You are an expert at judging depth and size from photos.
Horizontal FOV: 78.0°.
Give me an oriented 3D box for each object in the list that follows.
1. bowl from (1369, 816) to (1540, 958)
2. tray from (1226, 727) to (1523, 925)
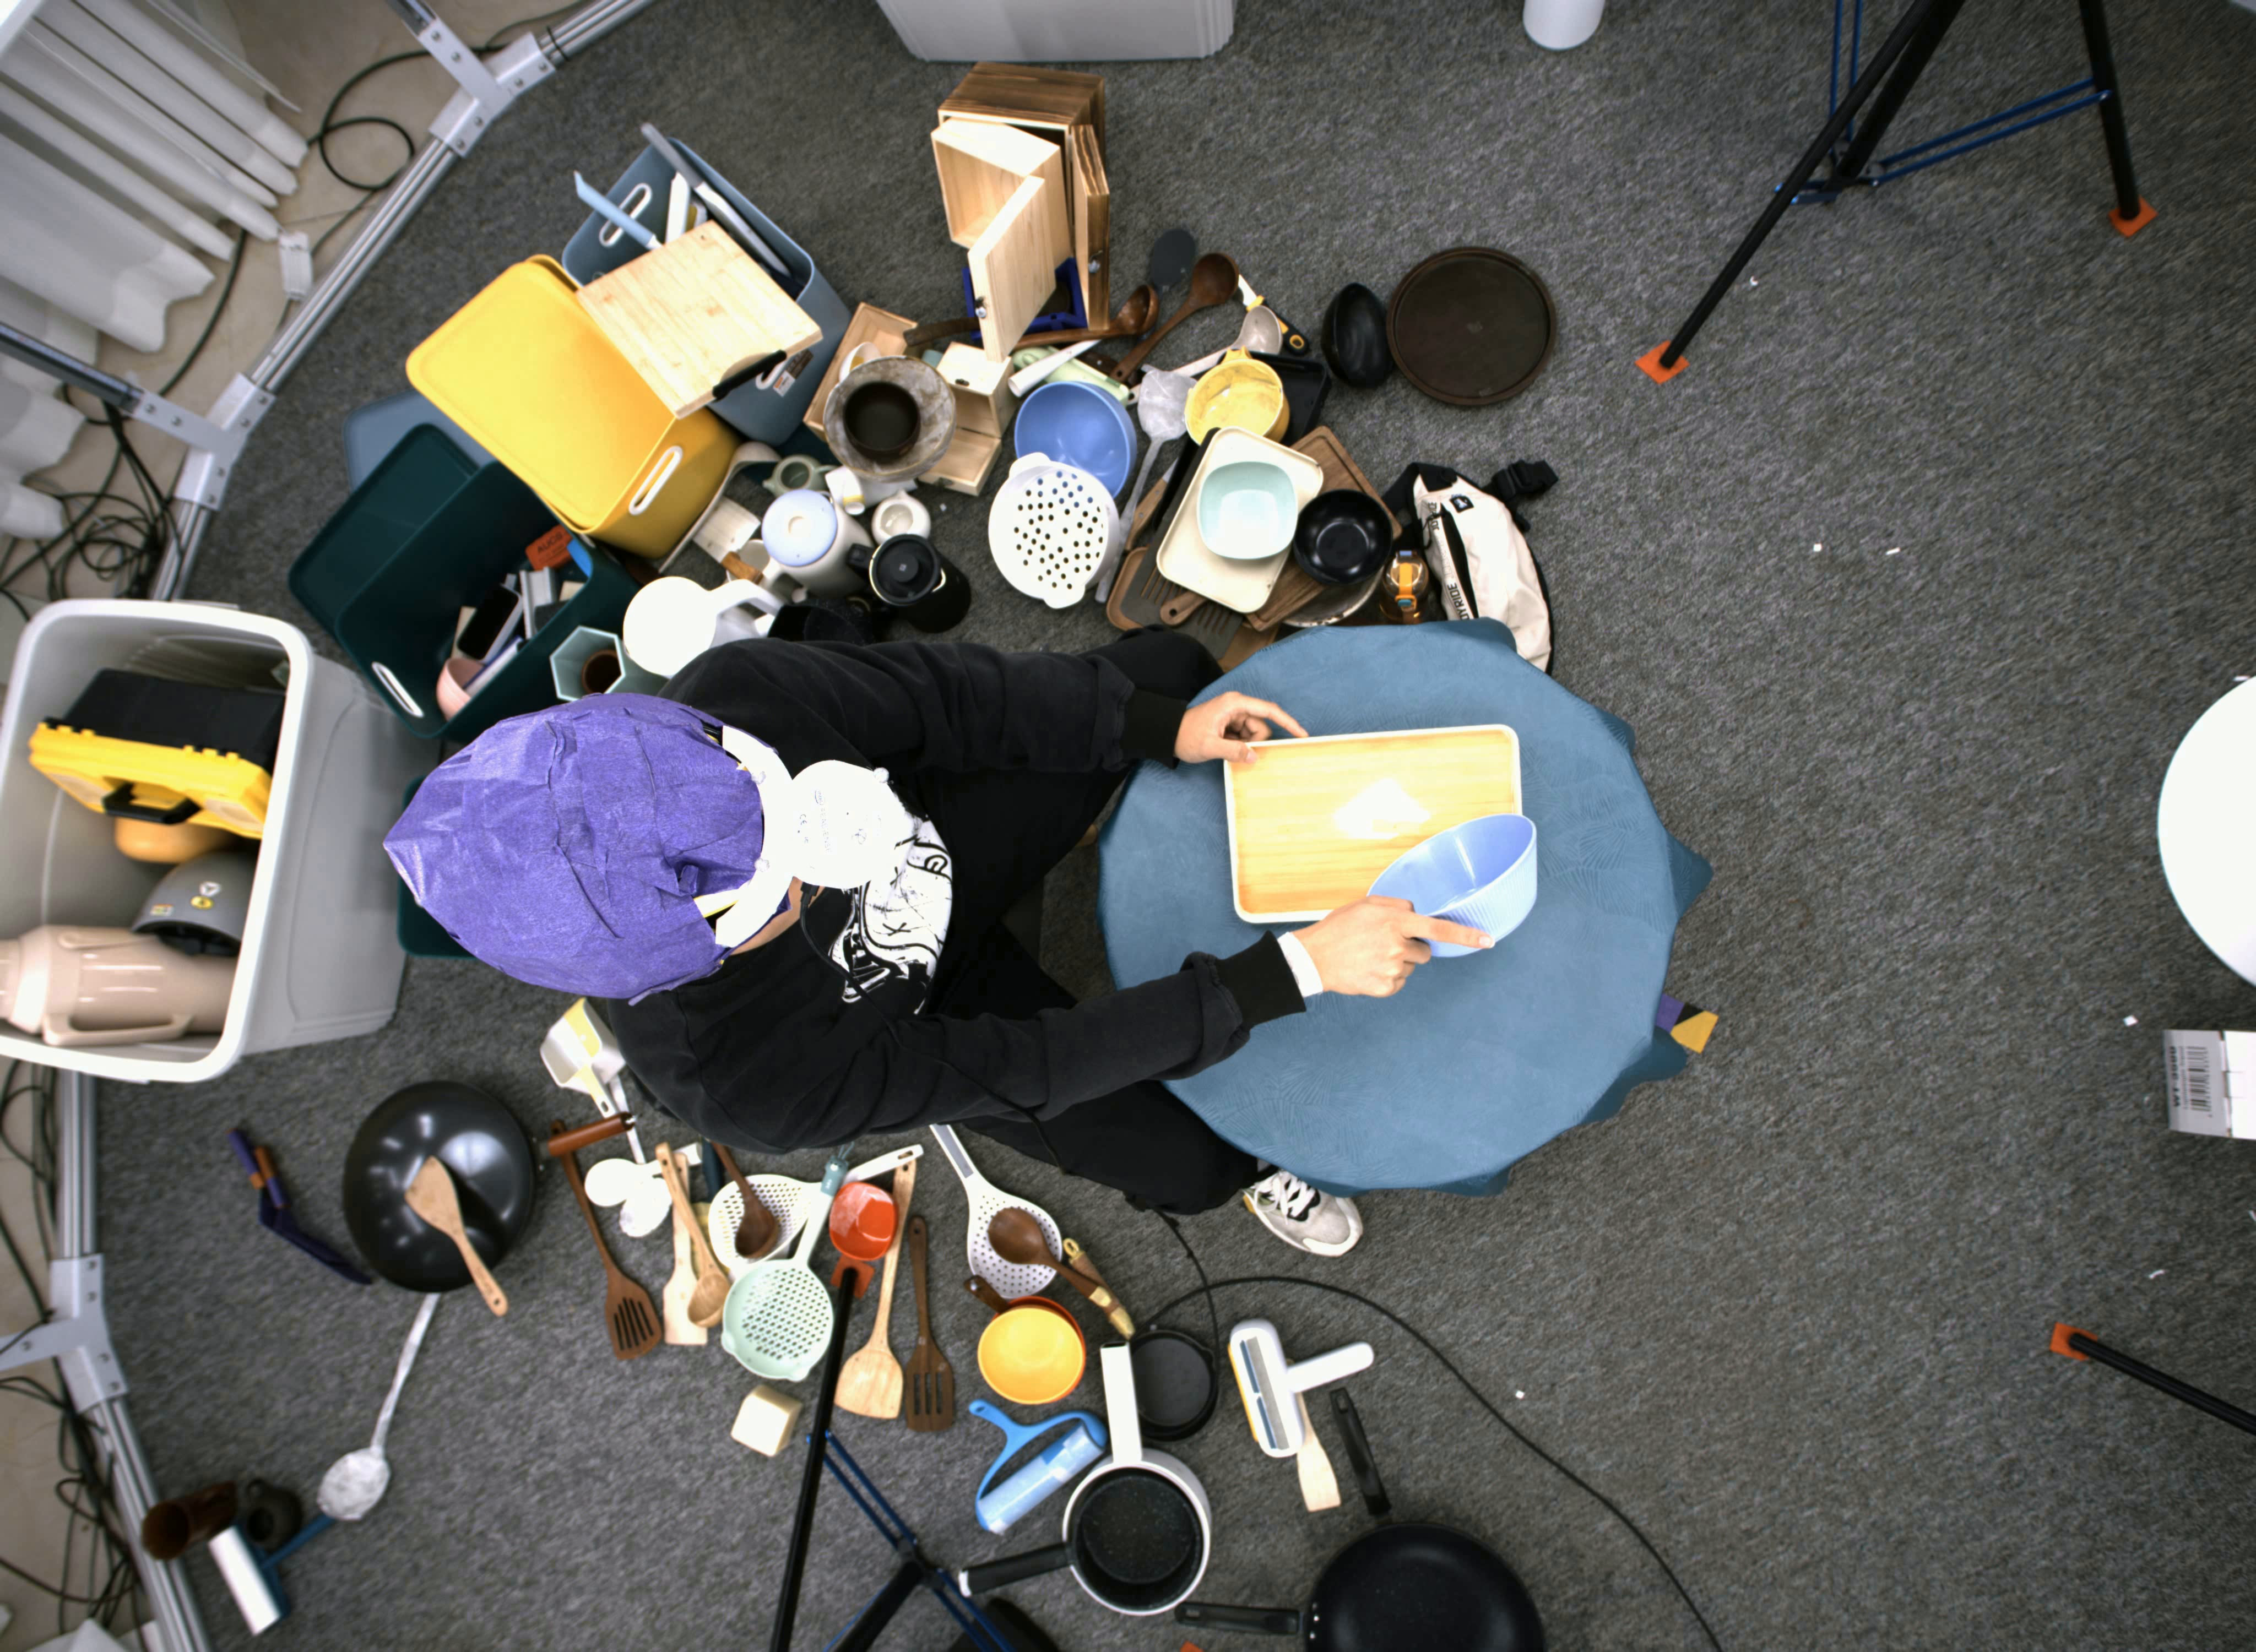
[{"bbox_3d":[0.321,0.065,1.307,0.177,0.174,0.071,-31,104,5],"label":"bowl"},{"bbox_3d":[0.257,-0.001,1.434,0.301,0.027,0.193,-4,99,8],"label":"tray"}]
